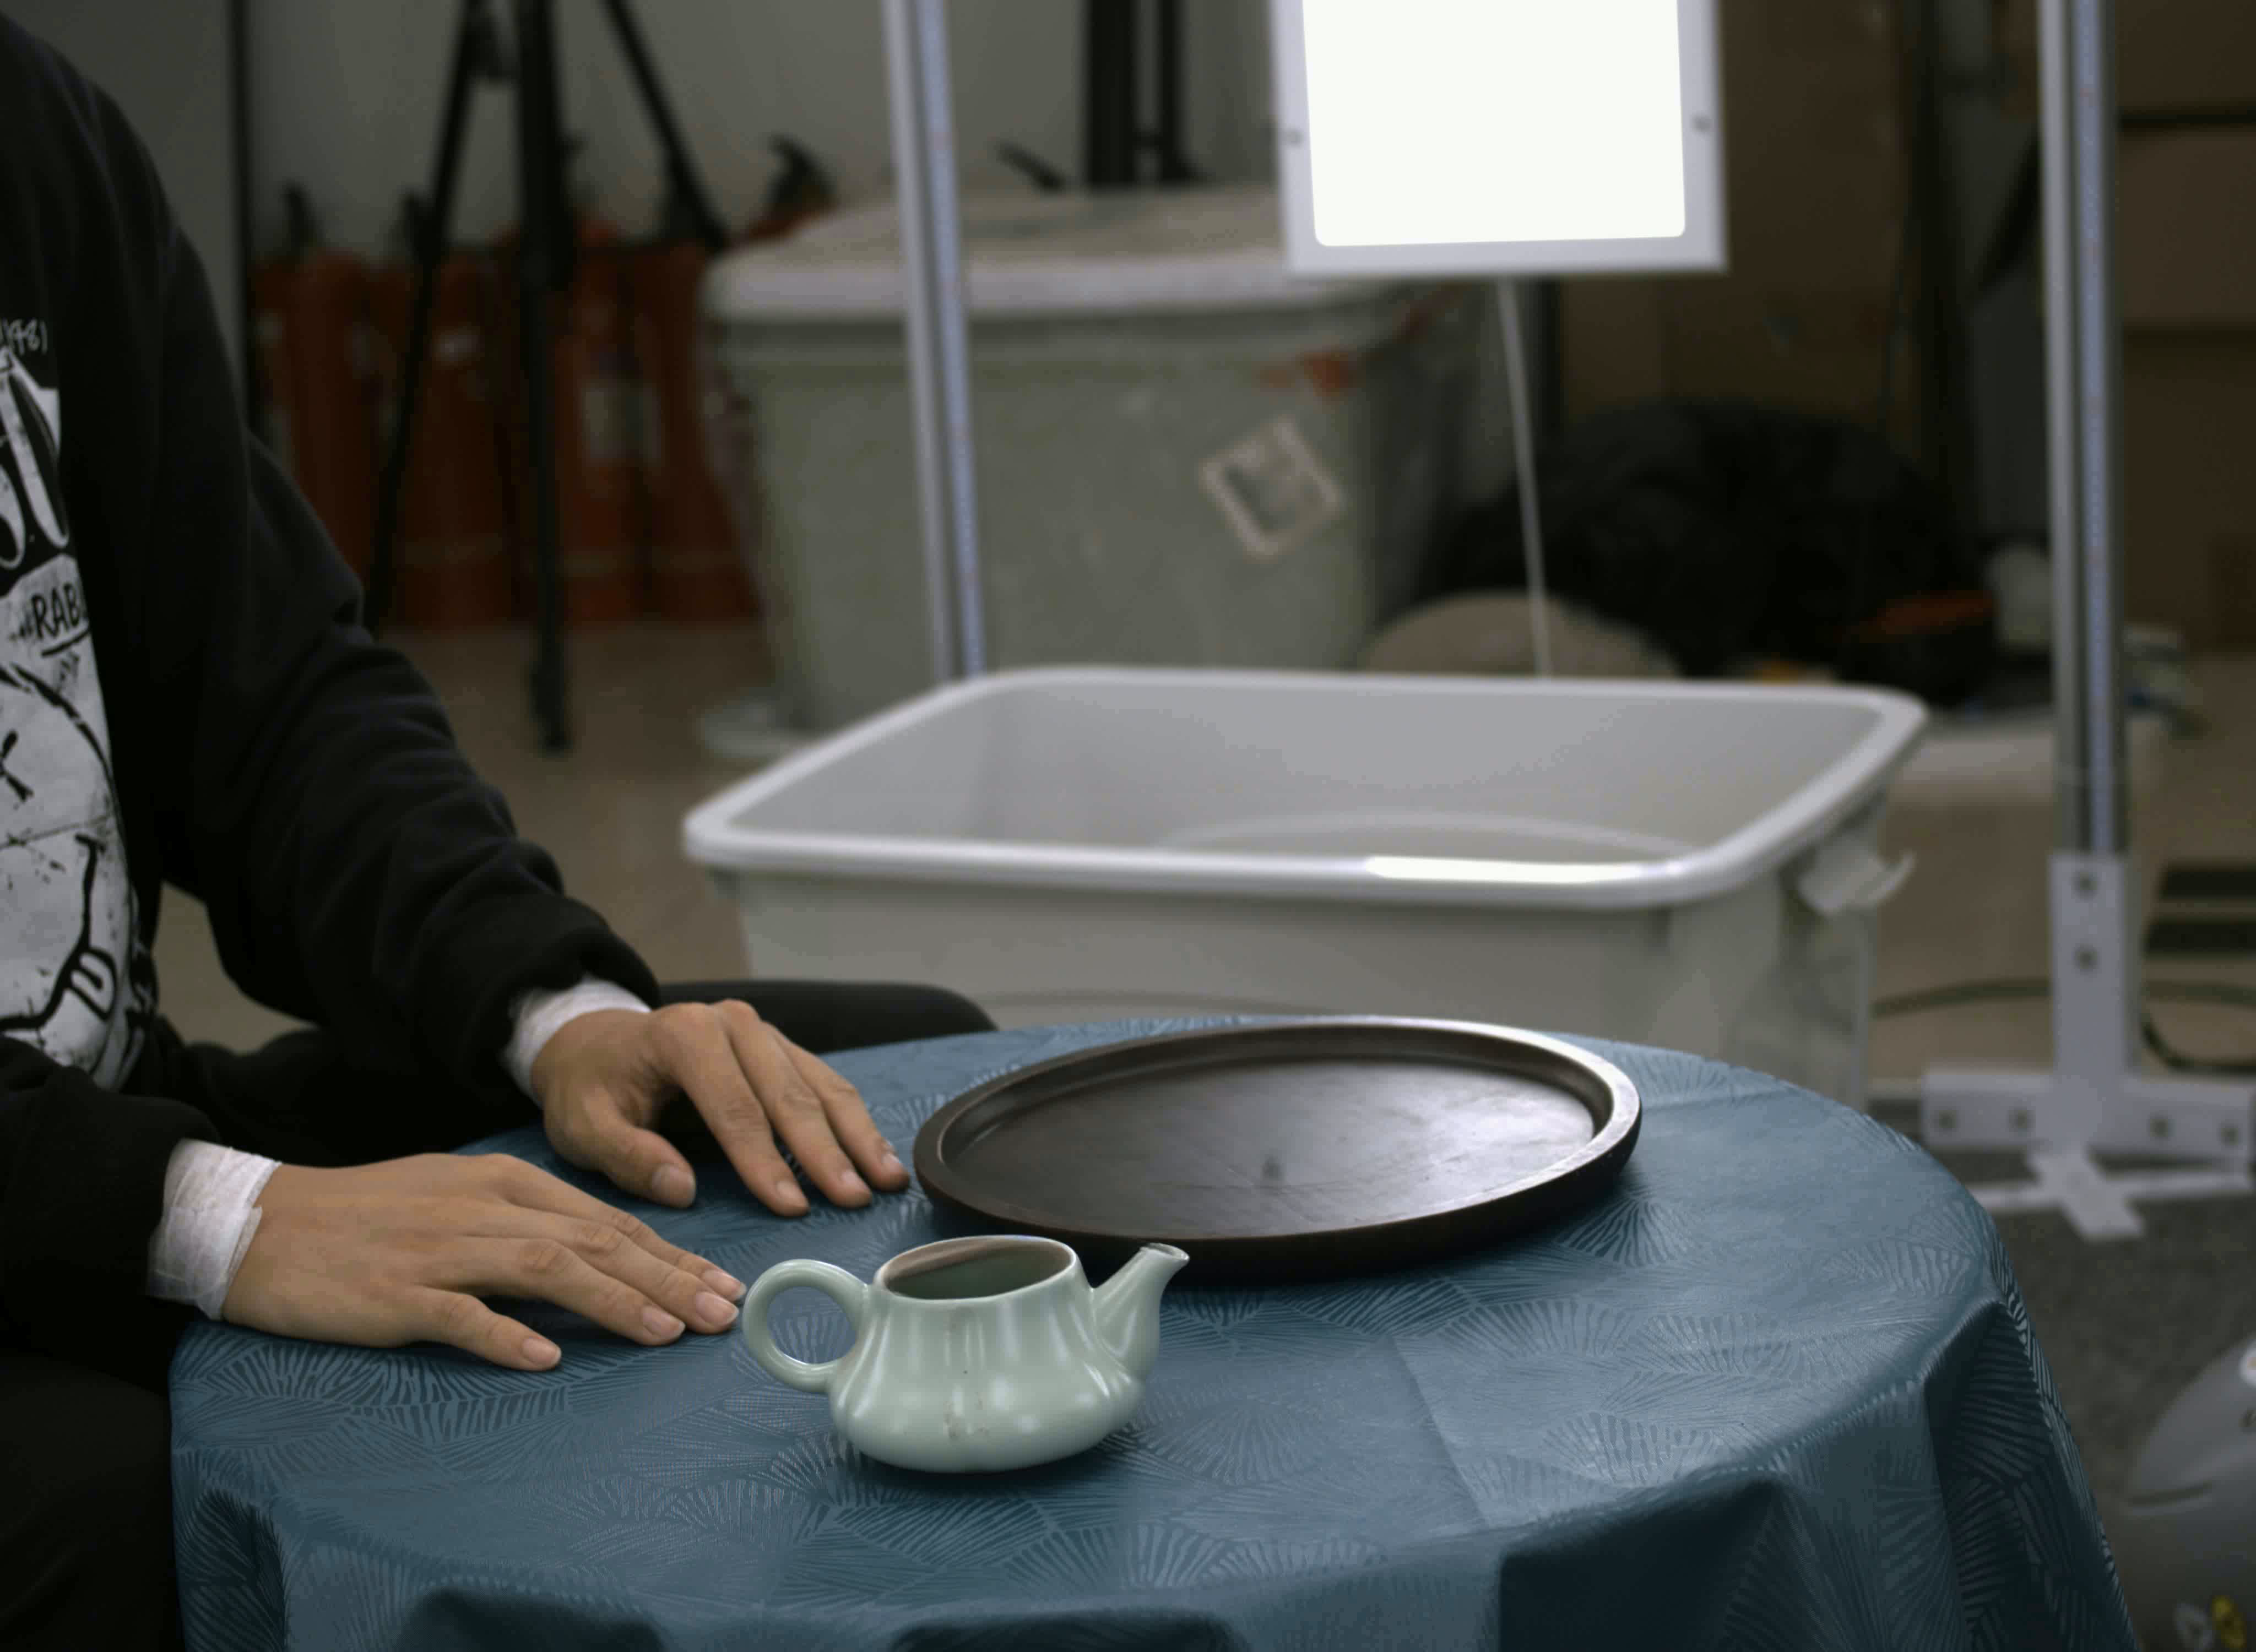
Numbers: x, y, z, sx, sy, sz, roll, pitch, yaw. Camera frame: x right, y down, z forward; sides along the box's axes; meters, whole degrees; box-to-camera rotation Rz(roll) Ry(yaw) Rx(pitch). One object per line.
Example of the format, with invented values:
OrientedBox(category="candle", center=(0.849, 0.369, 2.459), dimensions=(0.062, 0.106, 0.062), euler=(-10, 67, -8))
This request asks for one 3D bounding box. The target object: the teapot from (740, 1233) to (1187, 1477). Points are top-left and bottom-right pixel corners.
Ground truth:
OrientedBox(category="teapot", center=(-0.048, 0.158, 1.661), dimensions=(0.137, 0.061, 0.096), euler=(-4, 15, 4))

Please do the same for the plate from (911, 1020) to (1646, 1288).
OrientedBox(category="plate", center=(0.052, 0.110, 1.895), dimensions=(0.254, 0.029, 0.254), euler=(-5, 15, 0))
